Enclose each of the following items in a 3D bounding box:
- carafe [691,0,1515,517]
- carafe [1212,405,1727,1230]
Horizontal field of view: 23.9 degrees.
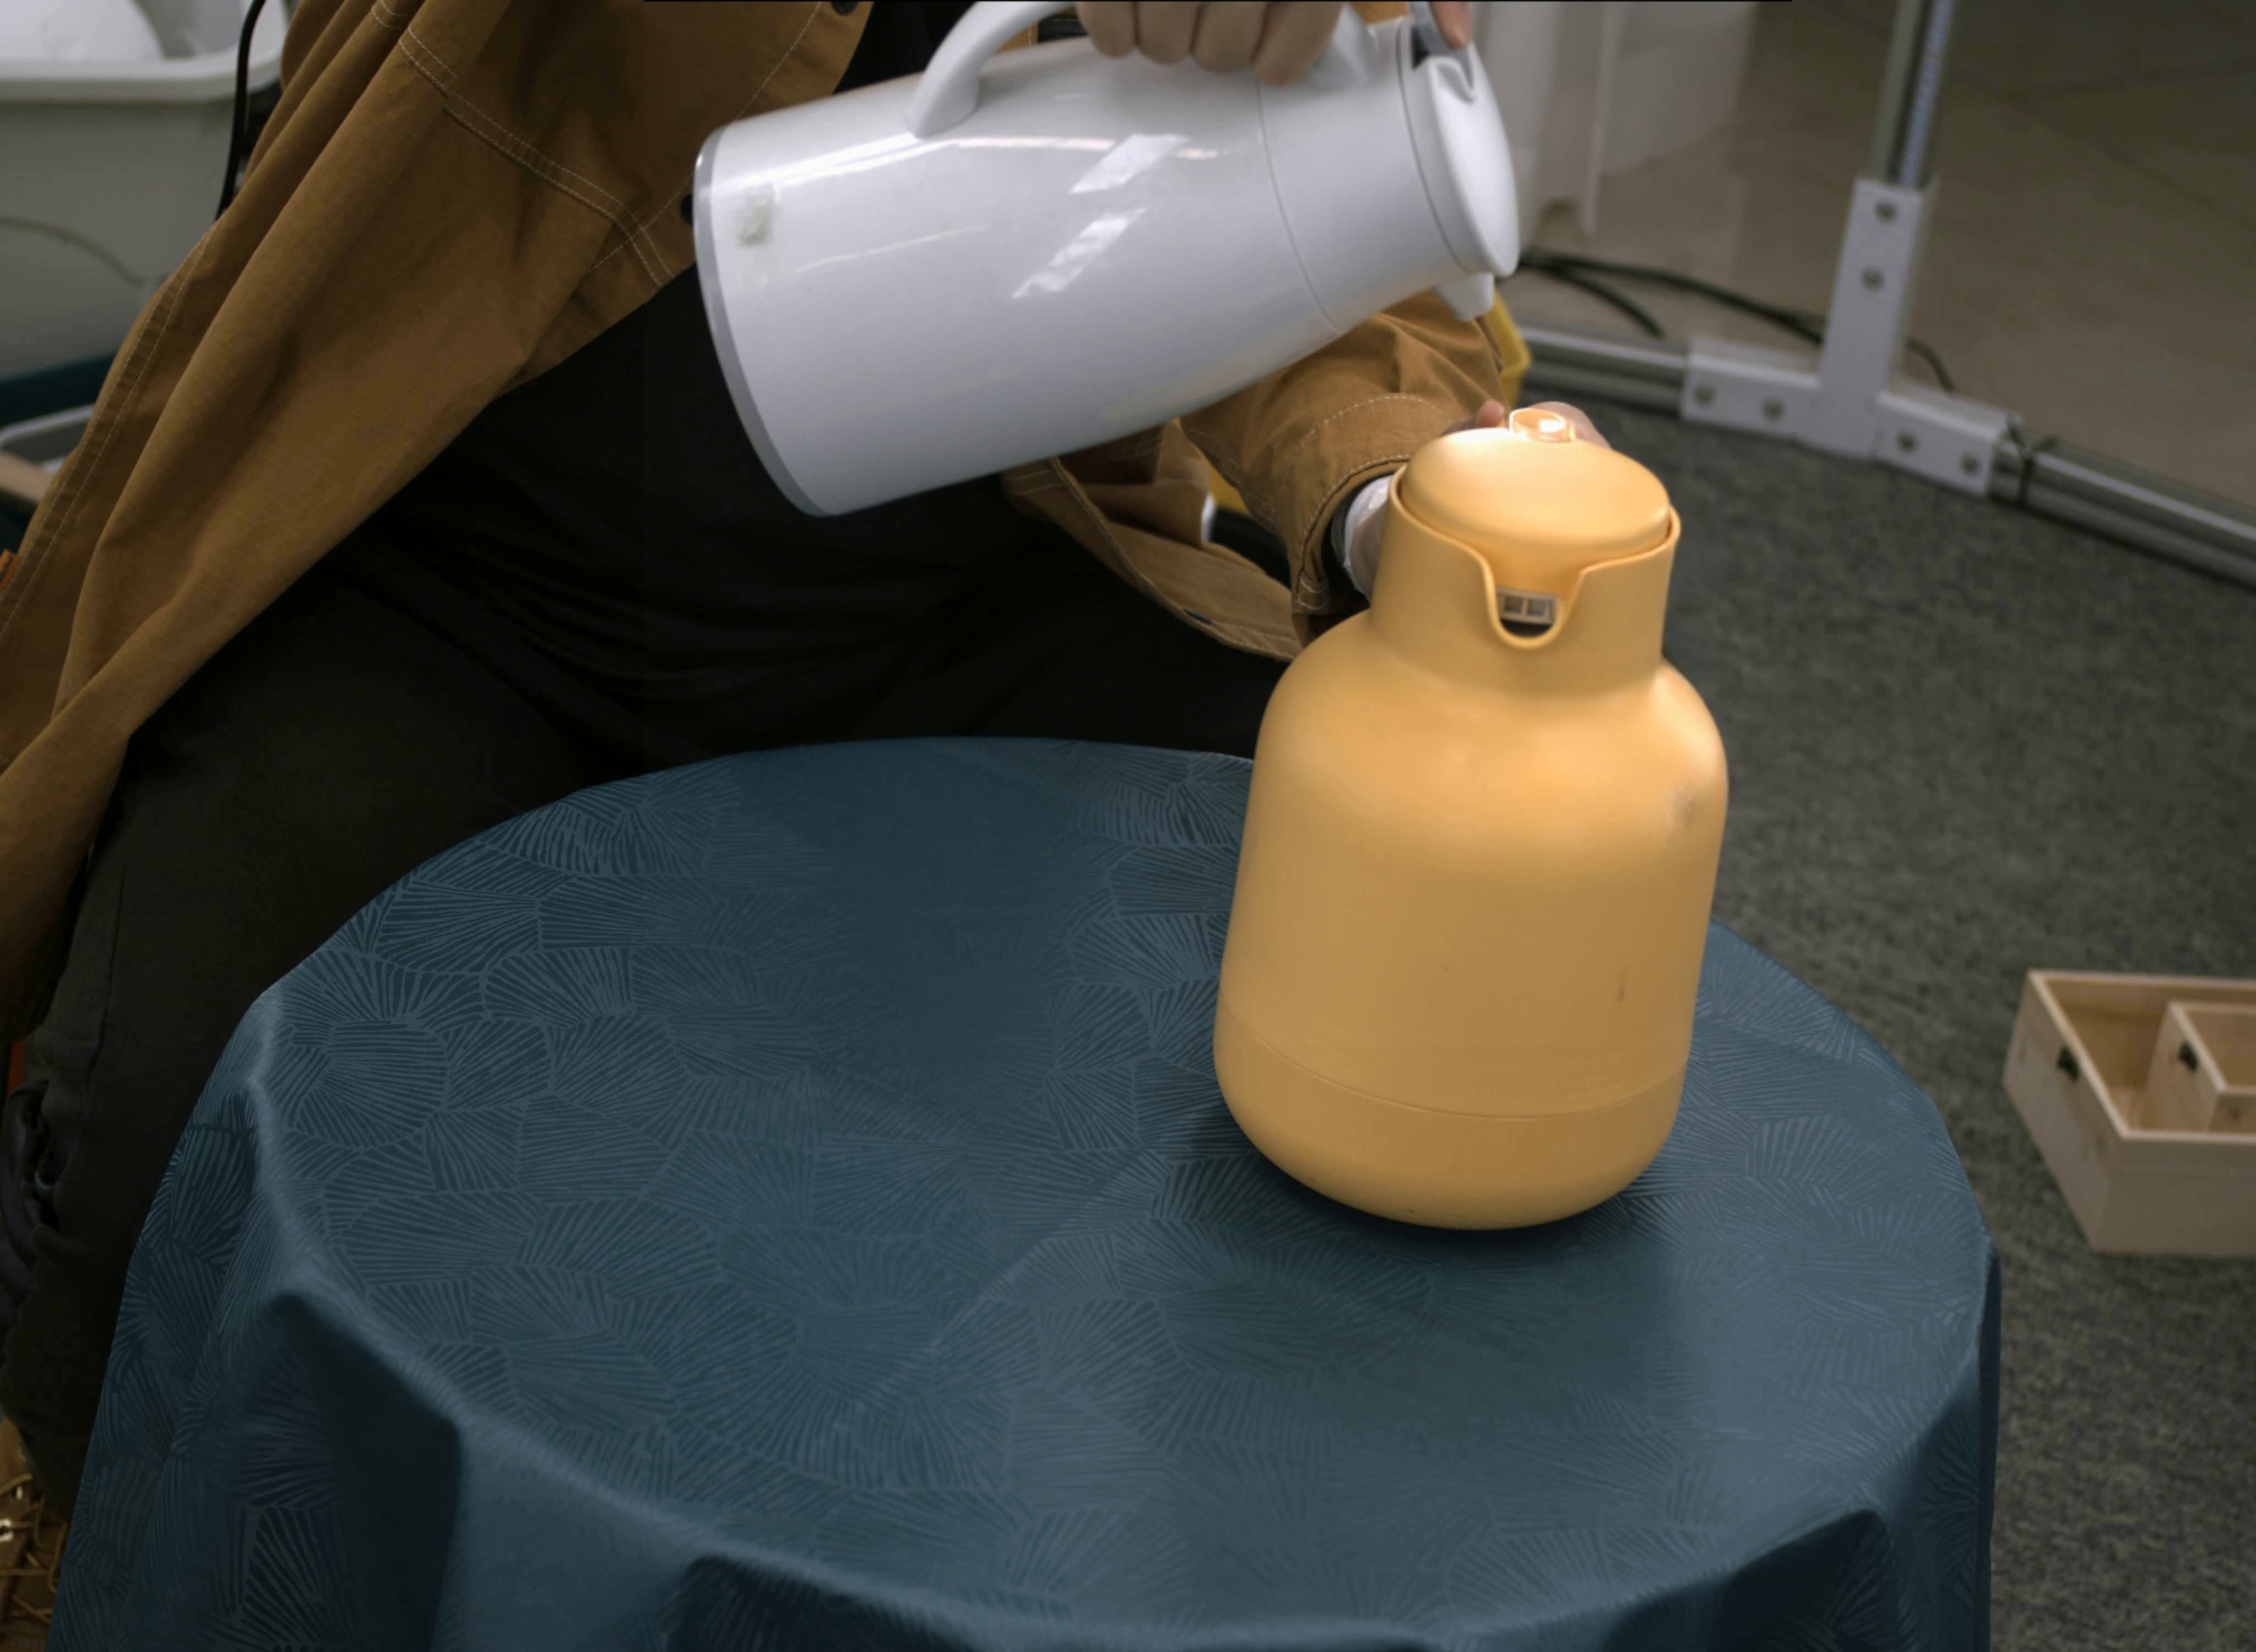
[{"bbox_3d":[-0.008,-0.205,1.691,0.248,0.166,0.133,-14,41,16],"label":"carafe"},{"bbox_3d":[0.124,-0.012,1.814,0.163,0.259,0.203,10,27,3],"label":"carafe"}]
